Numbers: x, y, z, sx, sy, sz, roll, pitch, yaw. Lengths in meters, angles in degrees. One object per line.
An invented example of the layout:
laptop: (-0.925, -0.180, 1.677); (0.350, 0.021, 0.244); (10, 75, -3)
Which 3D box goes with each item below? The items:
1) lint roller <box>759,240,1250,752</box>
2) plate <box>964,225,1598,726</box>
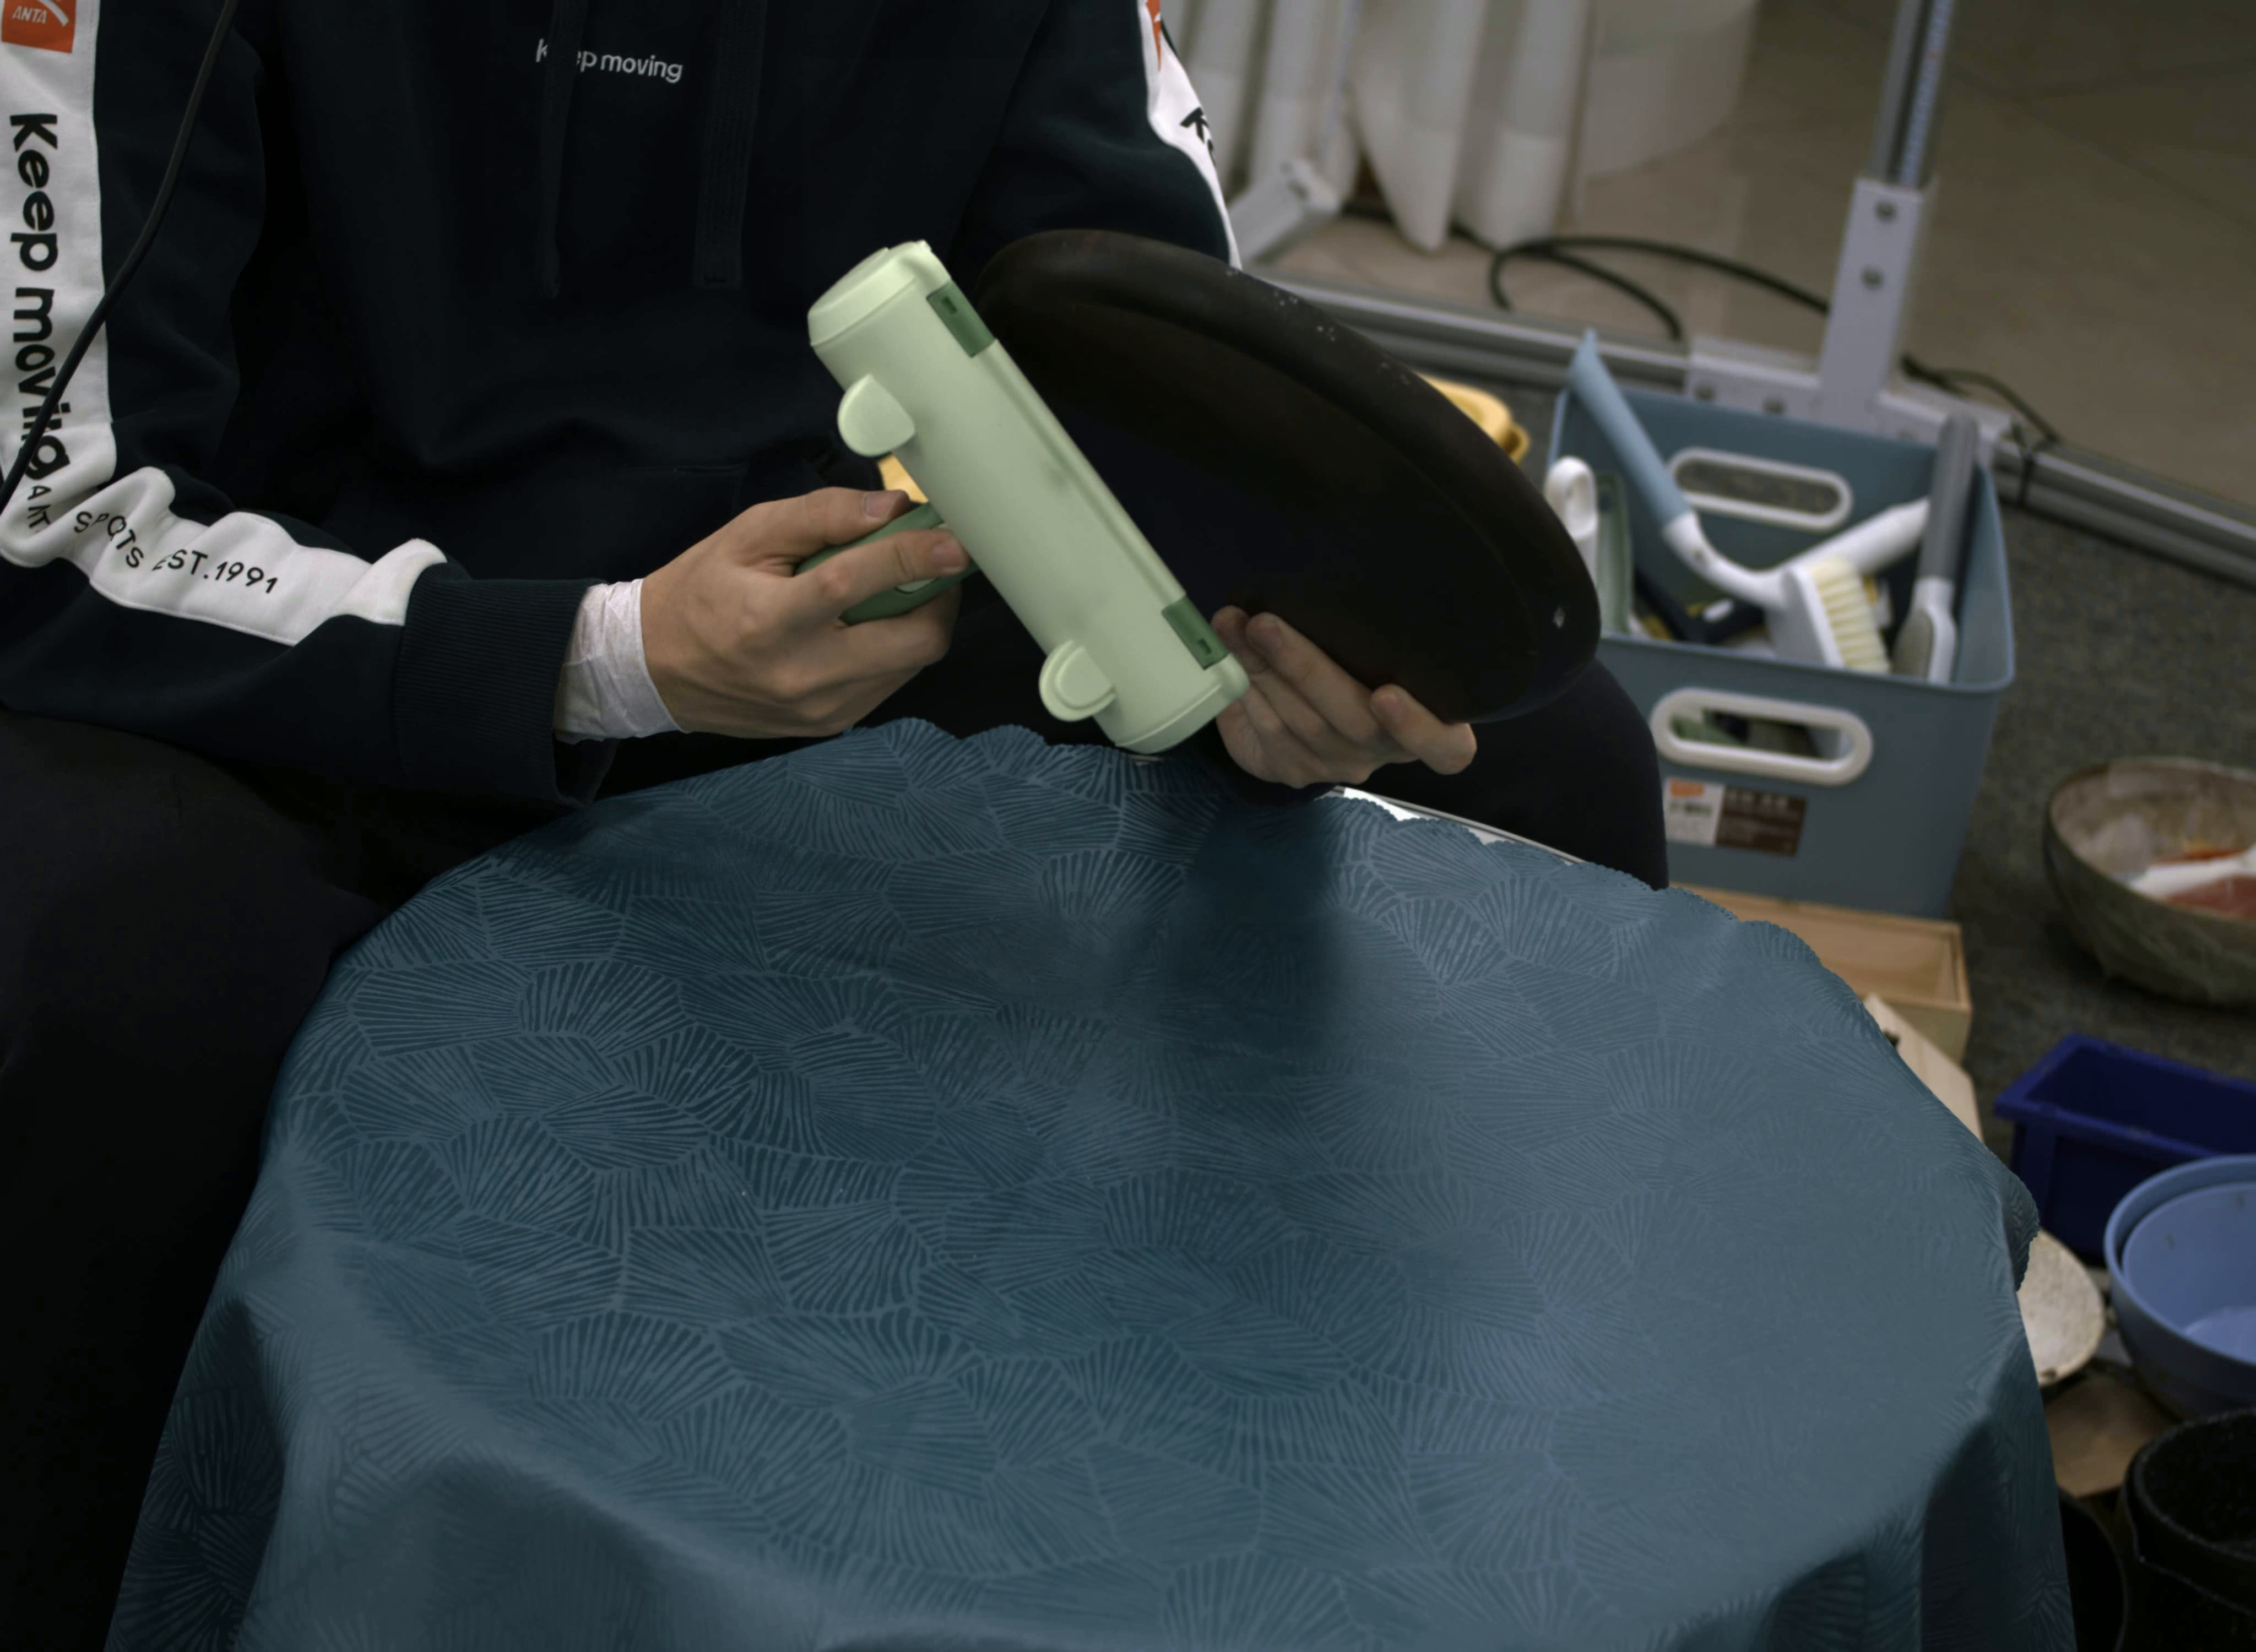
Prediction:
lint roller: (-0.077, -0.089, 1.869); (0.183, 0.198, 0.082); (-29, 14, 36)
plate: (0.048, -0.116, 1.848); (0.256, 0.253, 0.029); (22, 68, 28)
